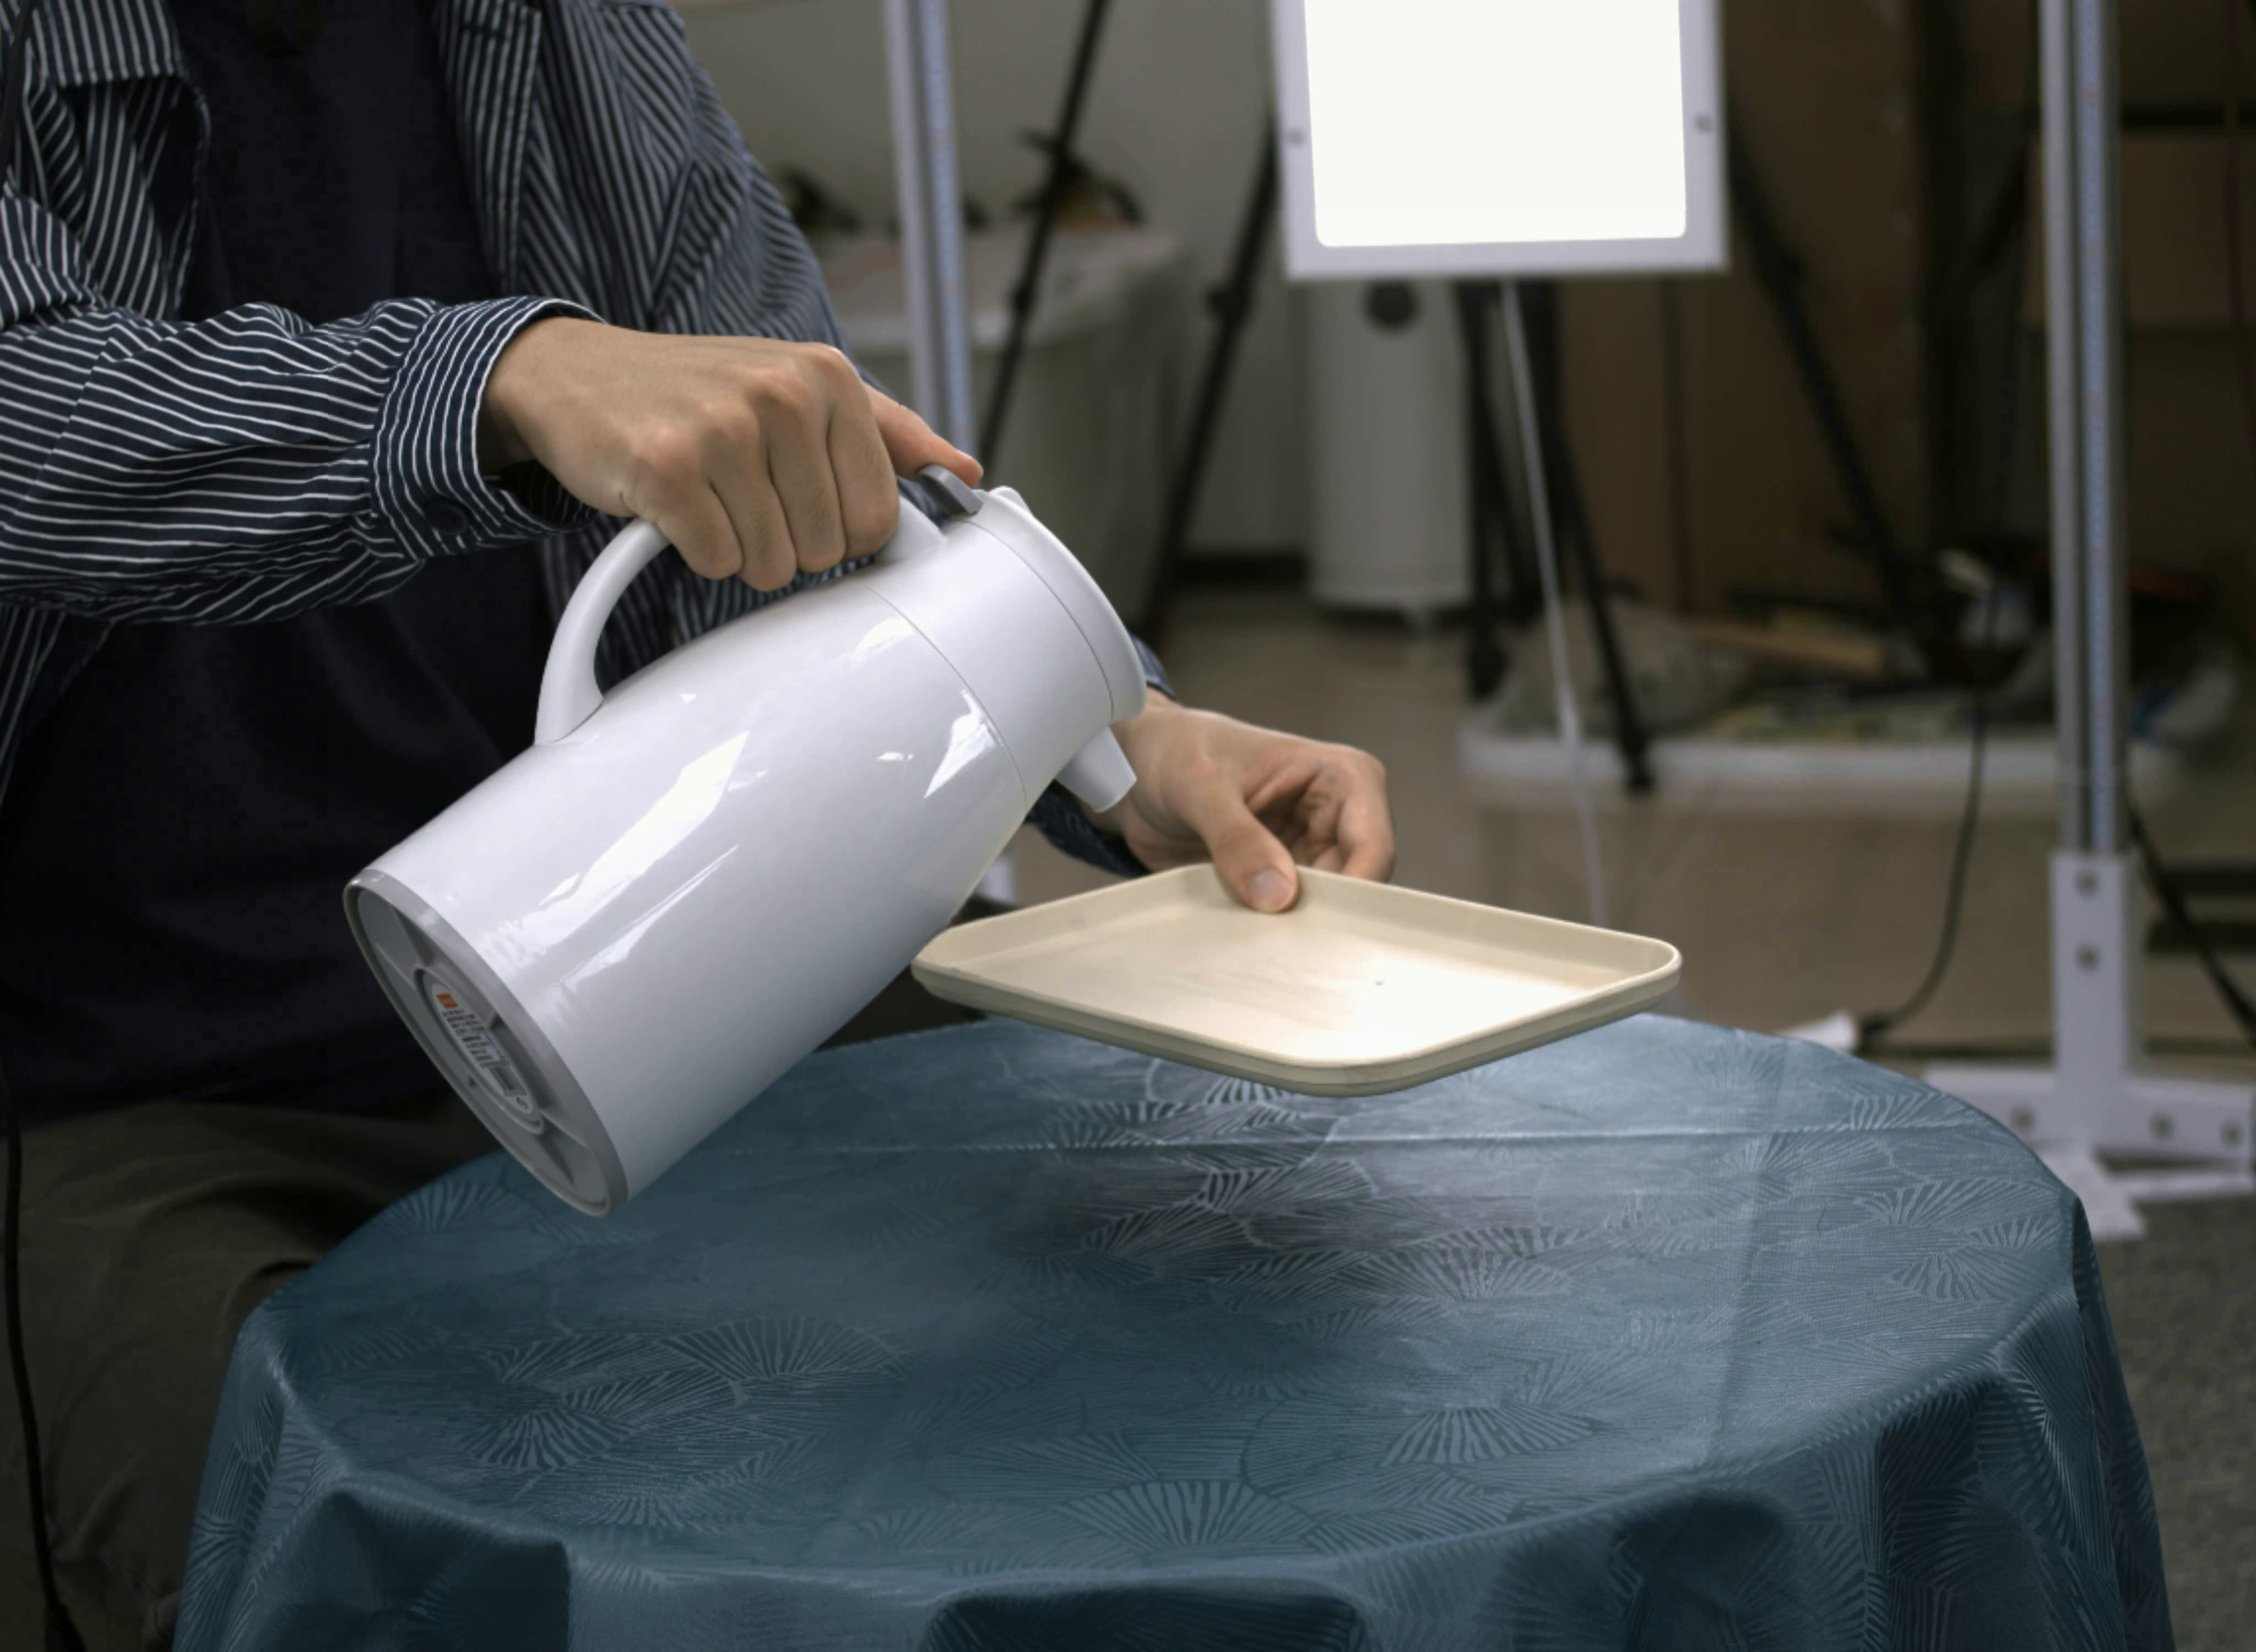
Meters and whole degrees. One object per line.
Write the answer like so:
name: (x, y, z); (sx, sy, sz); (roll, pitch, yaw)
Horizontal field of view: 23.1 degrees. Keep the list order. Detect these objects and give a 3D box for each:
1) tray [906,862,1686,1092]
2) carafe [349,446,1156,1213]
tray: (0.054, 0.049, 1.826); (0.167, 0.017, 0.245); (-14, 16, -38)
carafe: (-0.117, -0.018, 1.734); (0.245, 0.167, 0.134); (-37, 18, -16)
